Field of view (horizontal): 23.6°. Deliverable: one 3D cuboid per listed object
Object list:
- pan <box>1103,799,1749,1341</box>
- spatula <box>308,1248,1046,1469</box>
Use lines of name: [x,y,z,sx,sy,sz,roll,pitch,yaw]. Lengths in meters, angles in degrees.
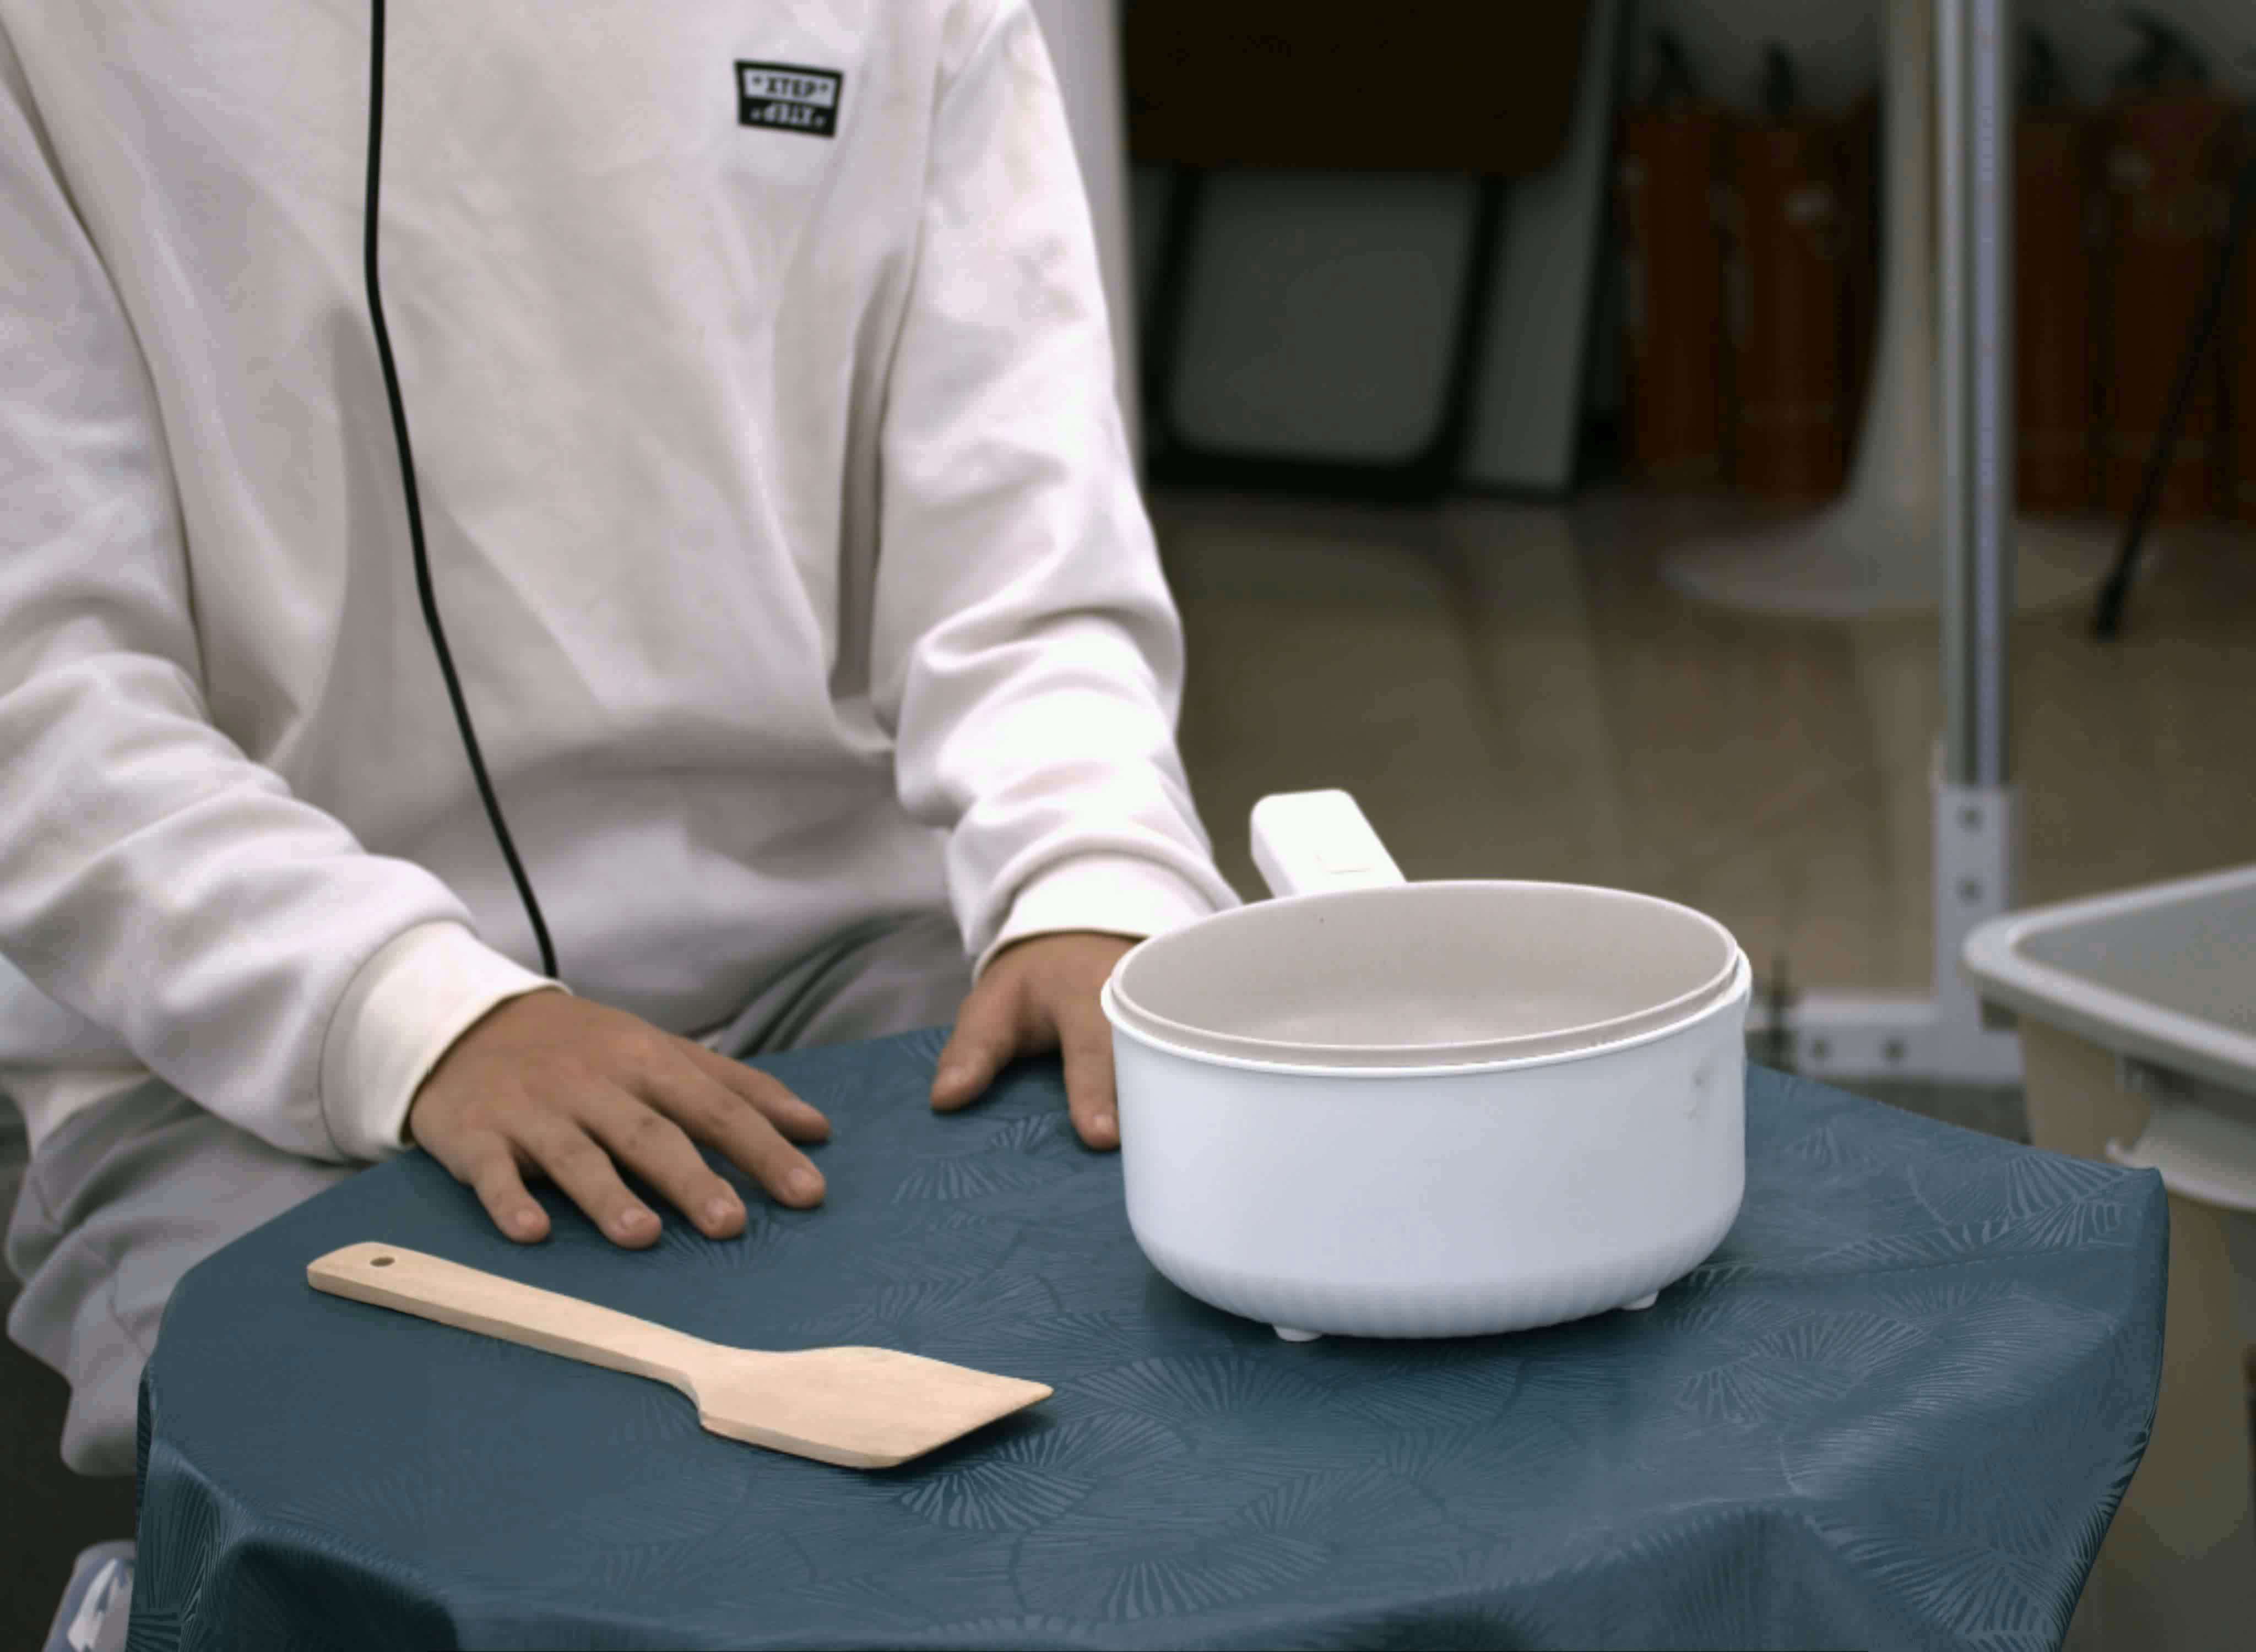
pan: [0.086,0.074,1.740,0.198,0.103,0.356,-5,12,-5]
spatula: [-0.151,0.159,1.644,0.295,0.011,0.071,9,19,43]
